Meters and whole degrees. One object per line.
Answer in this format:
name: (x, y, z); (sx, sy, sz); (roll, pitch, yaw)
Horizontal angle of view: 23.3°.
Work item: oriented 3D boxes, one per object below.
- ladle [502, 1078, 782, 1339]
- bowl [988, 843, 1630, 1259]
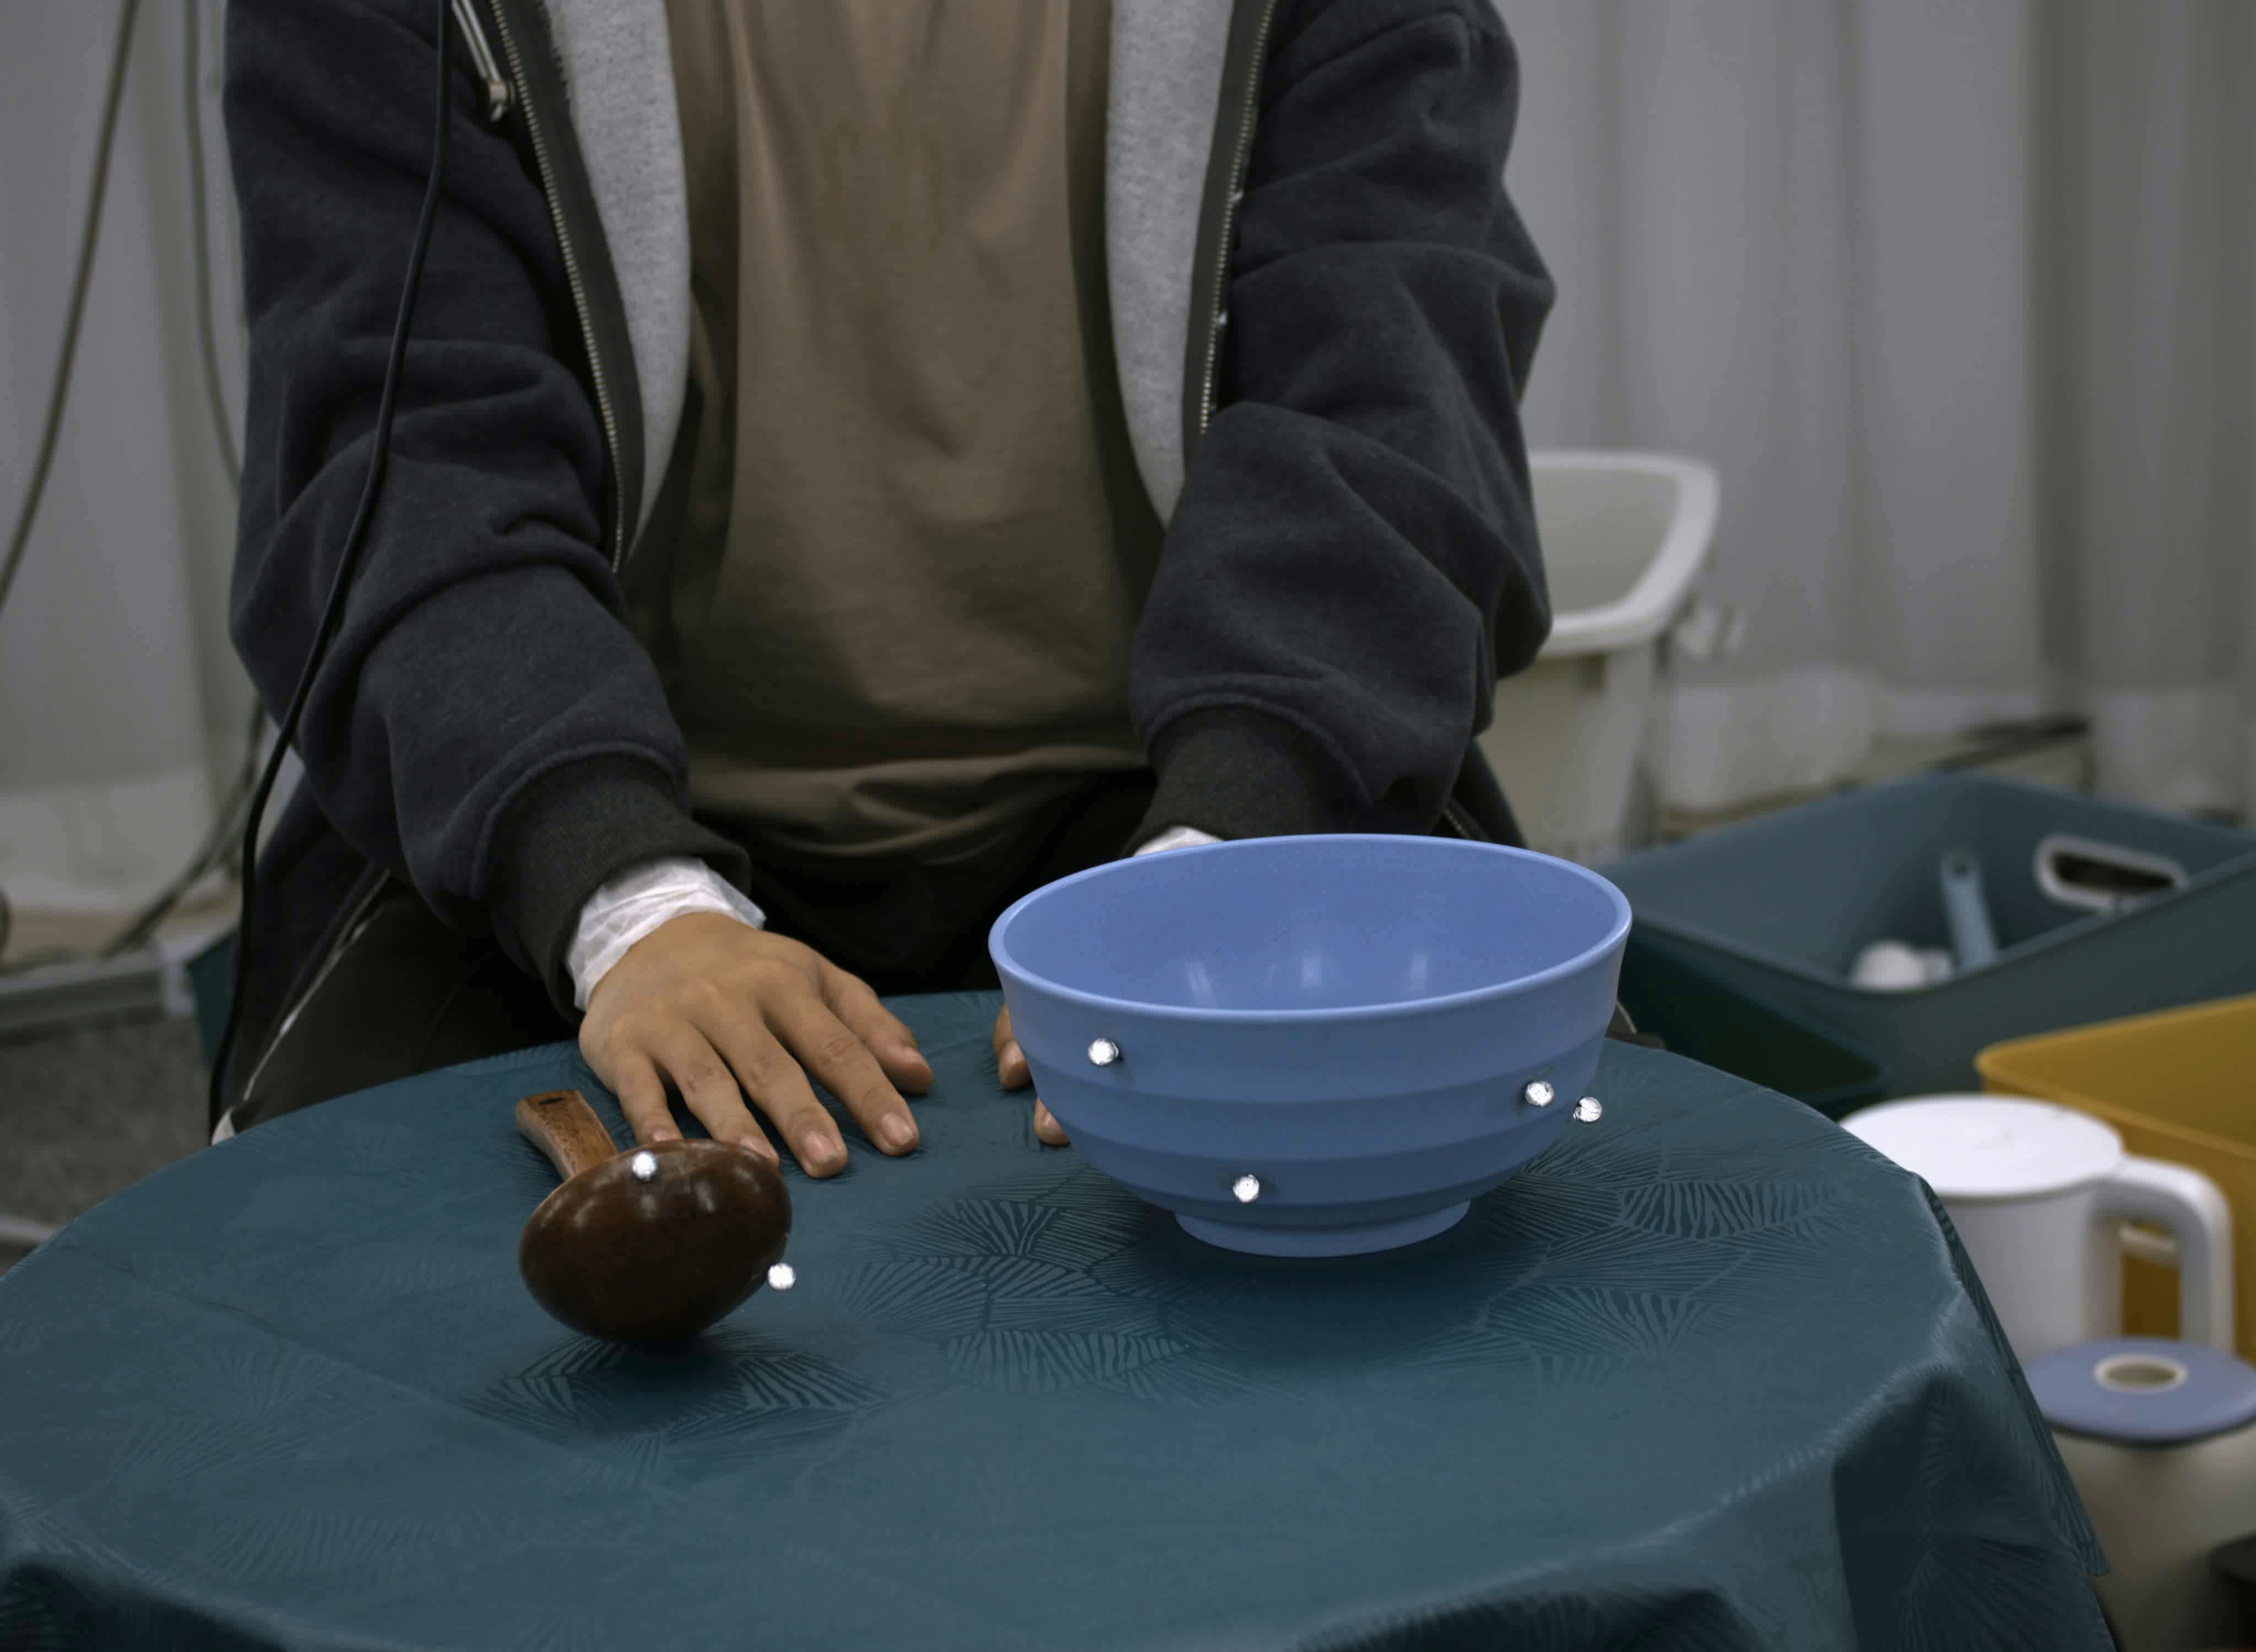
ladle: (-0.161, 0.093, 1.677); (0.081, 0.076, 0.276); (-9, 16, -10)
bowl: (0.057, 0.074, 1.678); (0.196, 0.095, 0.197); (-3, 13, 1)
